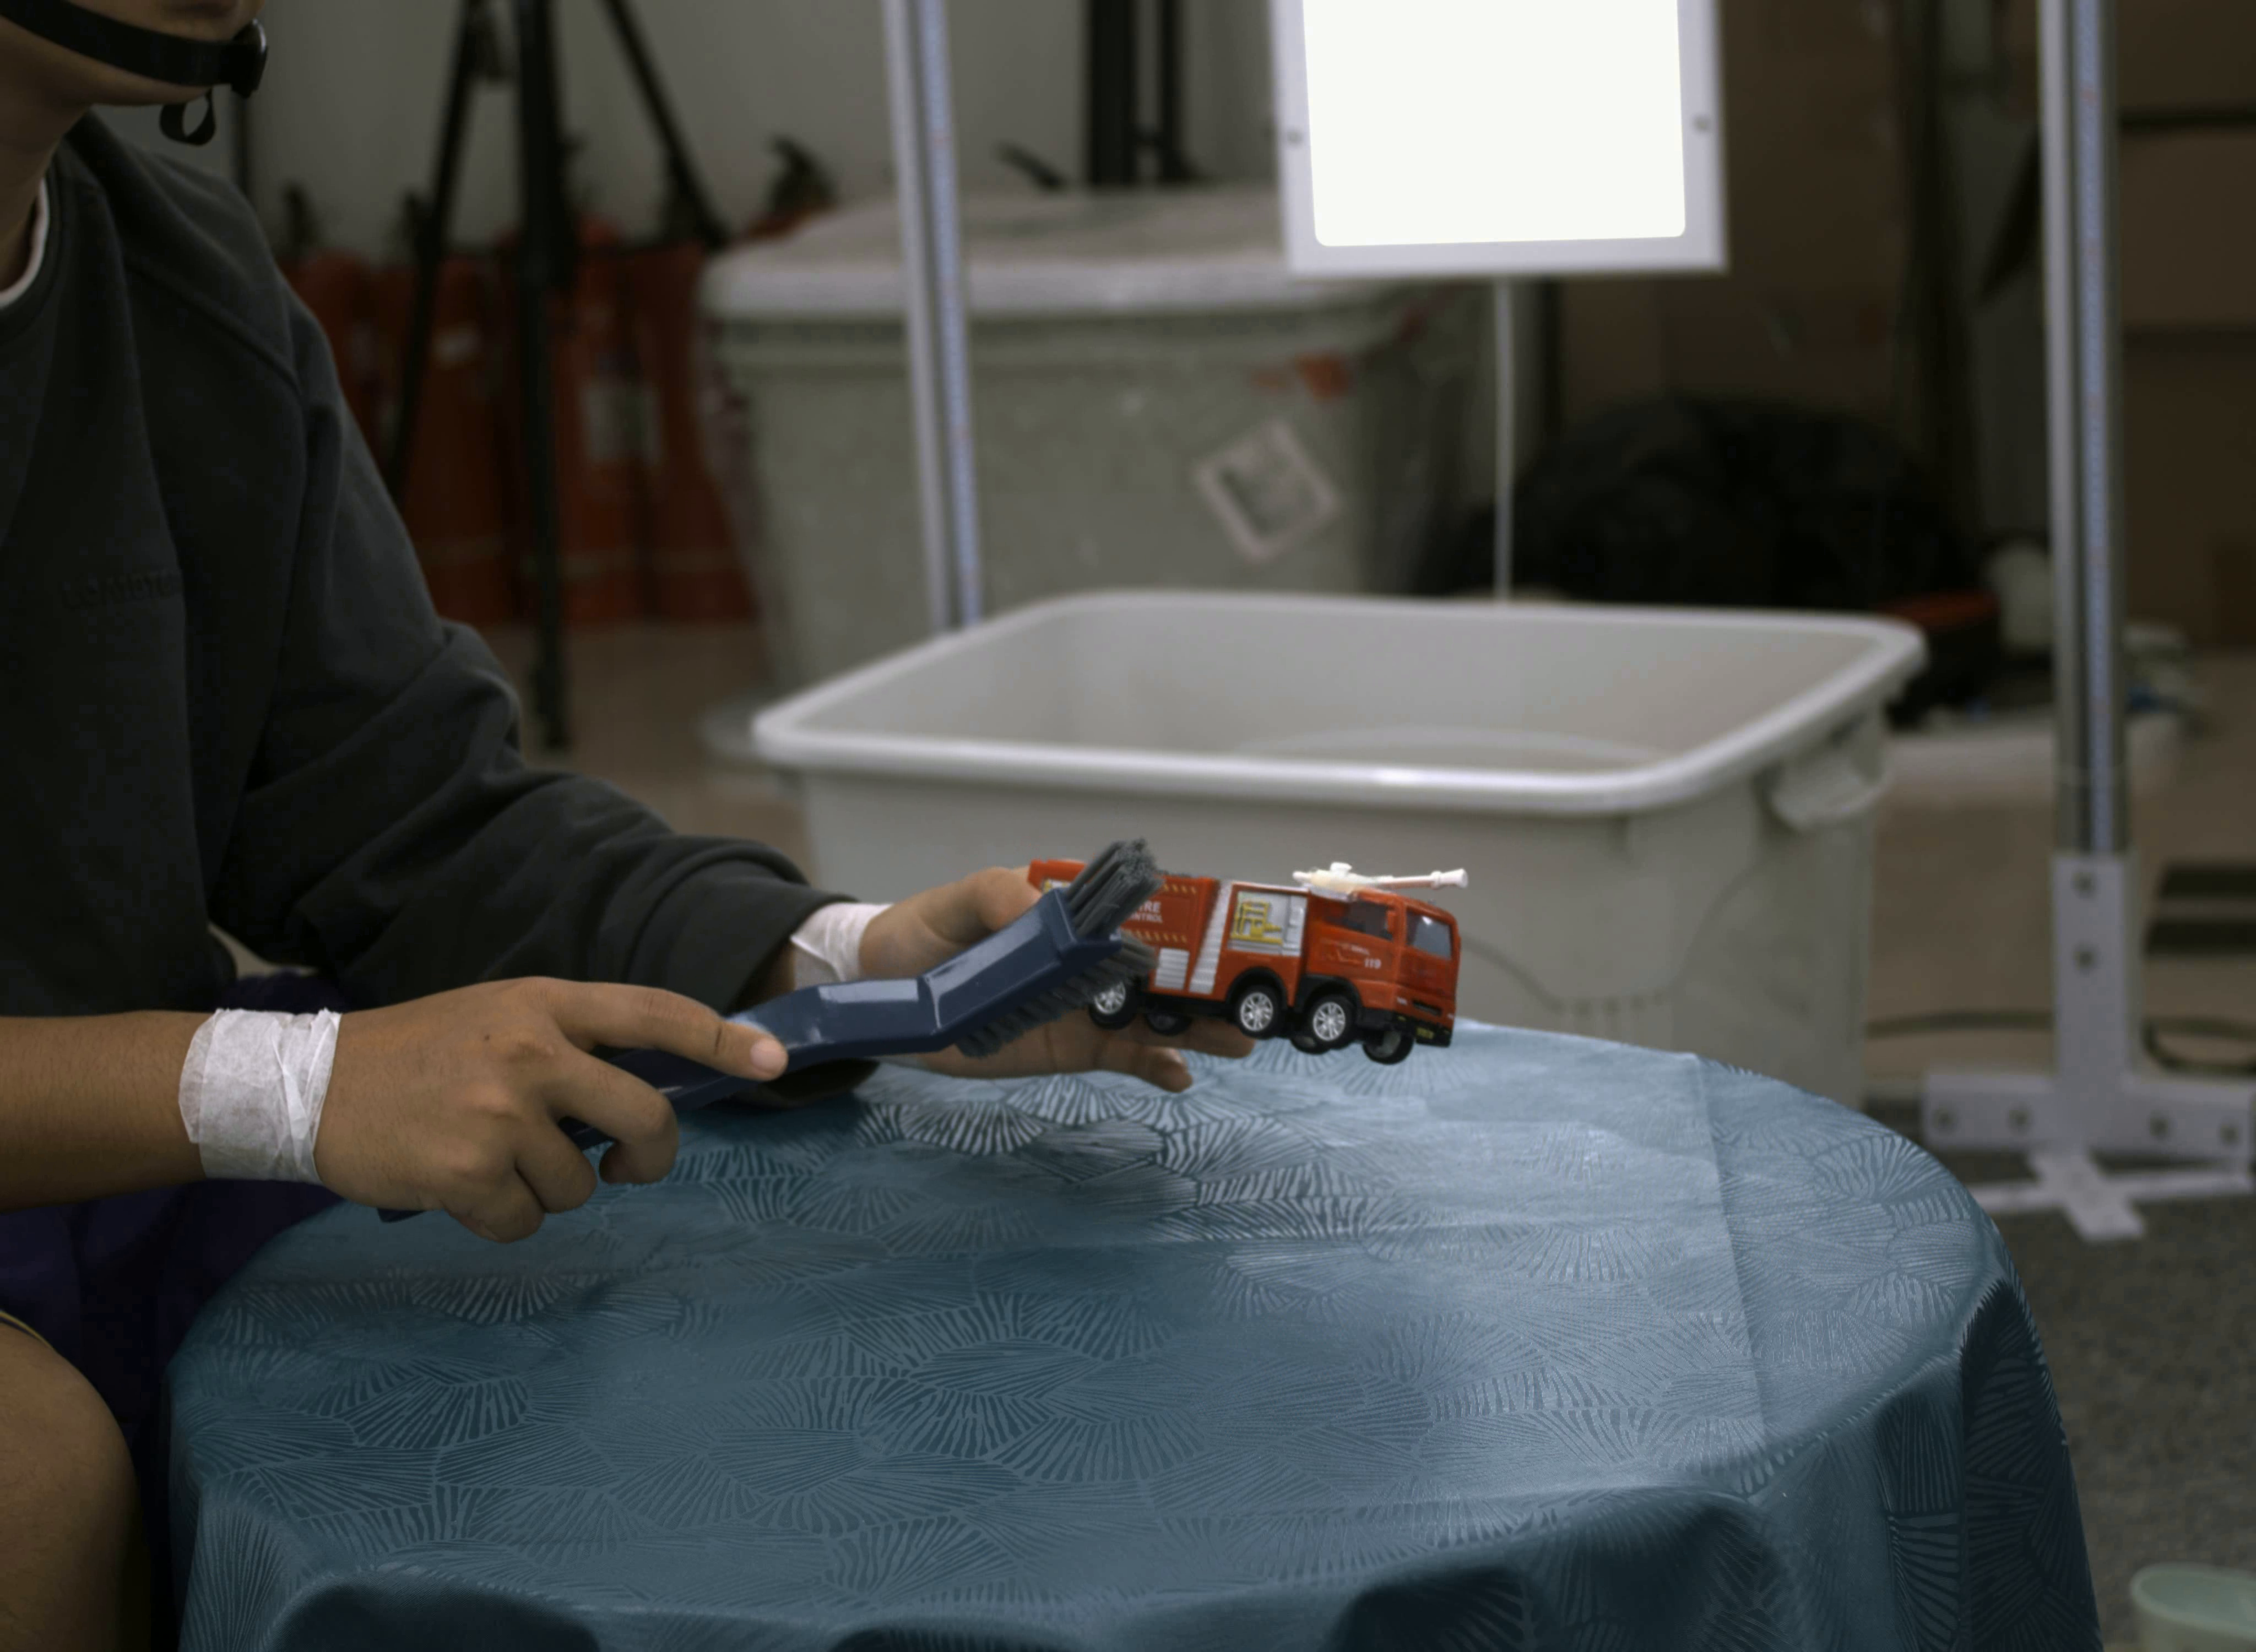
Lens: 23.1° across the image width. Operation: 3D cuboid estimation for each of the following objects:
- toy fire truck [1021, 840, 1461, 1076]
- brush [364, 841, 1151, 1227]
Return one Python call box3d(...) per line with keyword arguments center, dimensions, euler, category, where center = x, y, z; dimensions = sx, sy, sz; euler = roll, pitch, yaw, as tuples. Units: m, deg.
box3d(center=(0.037, 0.043, 1.881), dimensions=(0.171, 0.070, 0.053), euler=(5, -9, 36), category="toy fire truck")
box3d(center=(-0.124, 0.068, 1.831), dimensions=(0.272, 0.033, 0.096), euler=(-16, -29, -3), category="brush")
